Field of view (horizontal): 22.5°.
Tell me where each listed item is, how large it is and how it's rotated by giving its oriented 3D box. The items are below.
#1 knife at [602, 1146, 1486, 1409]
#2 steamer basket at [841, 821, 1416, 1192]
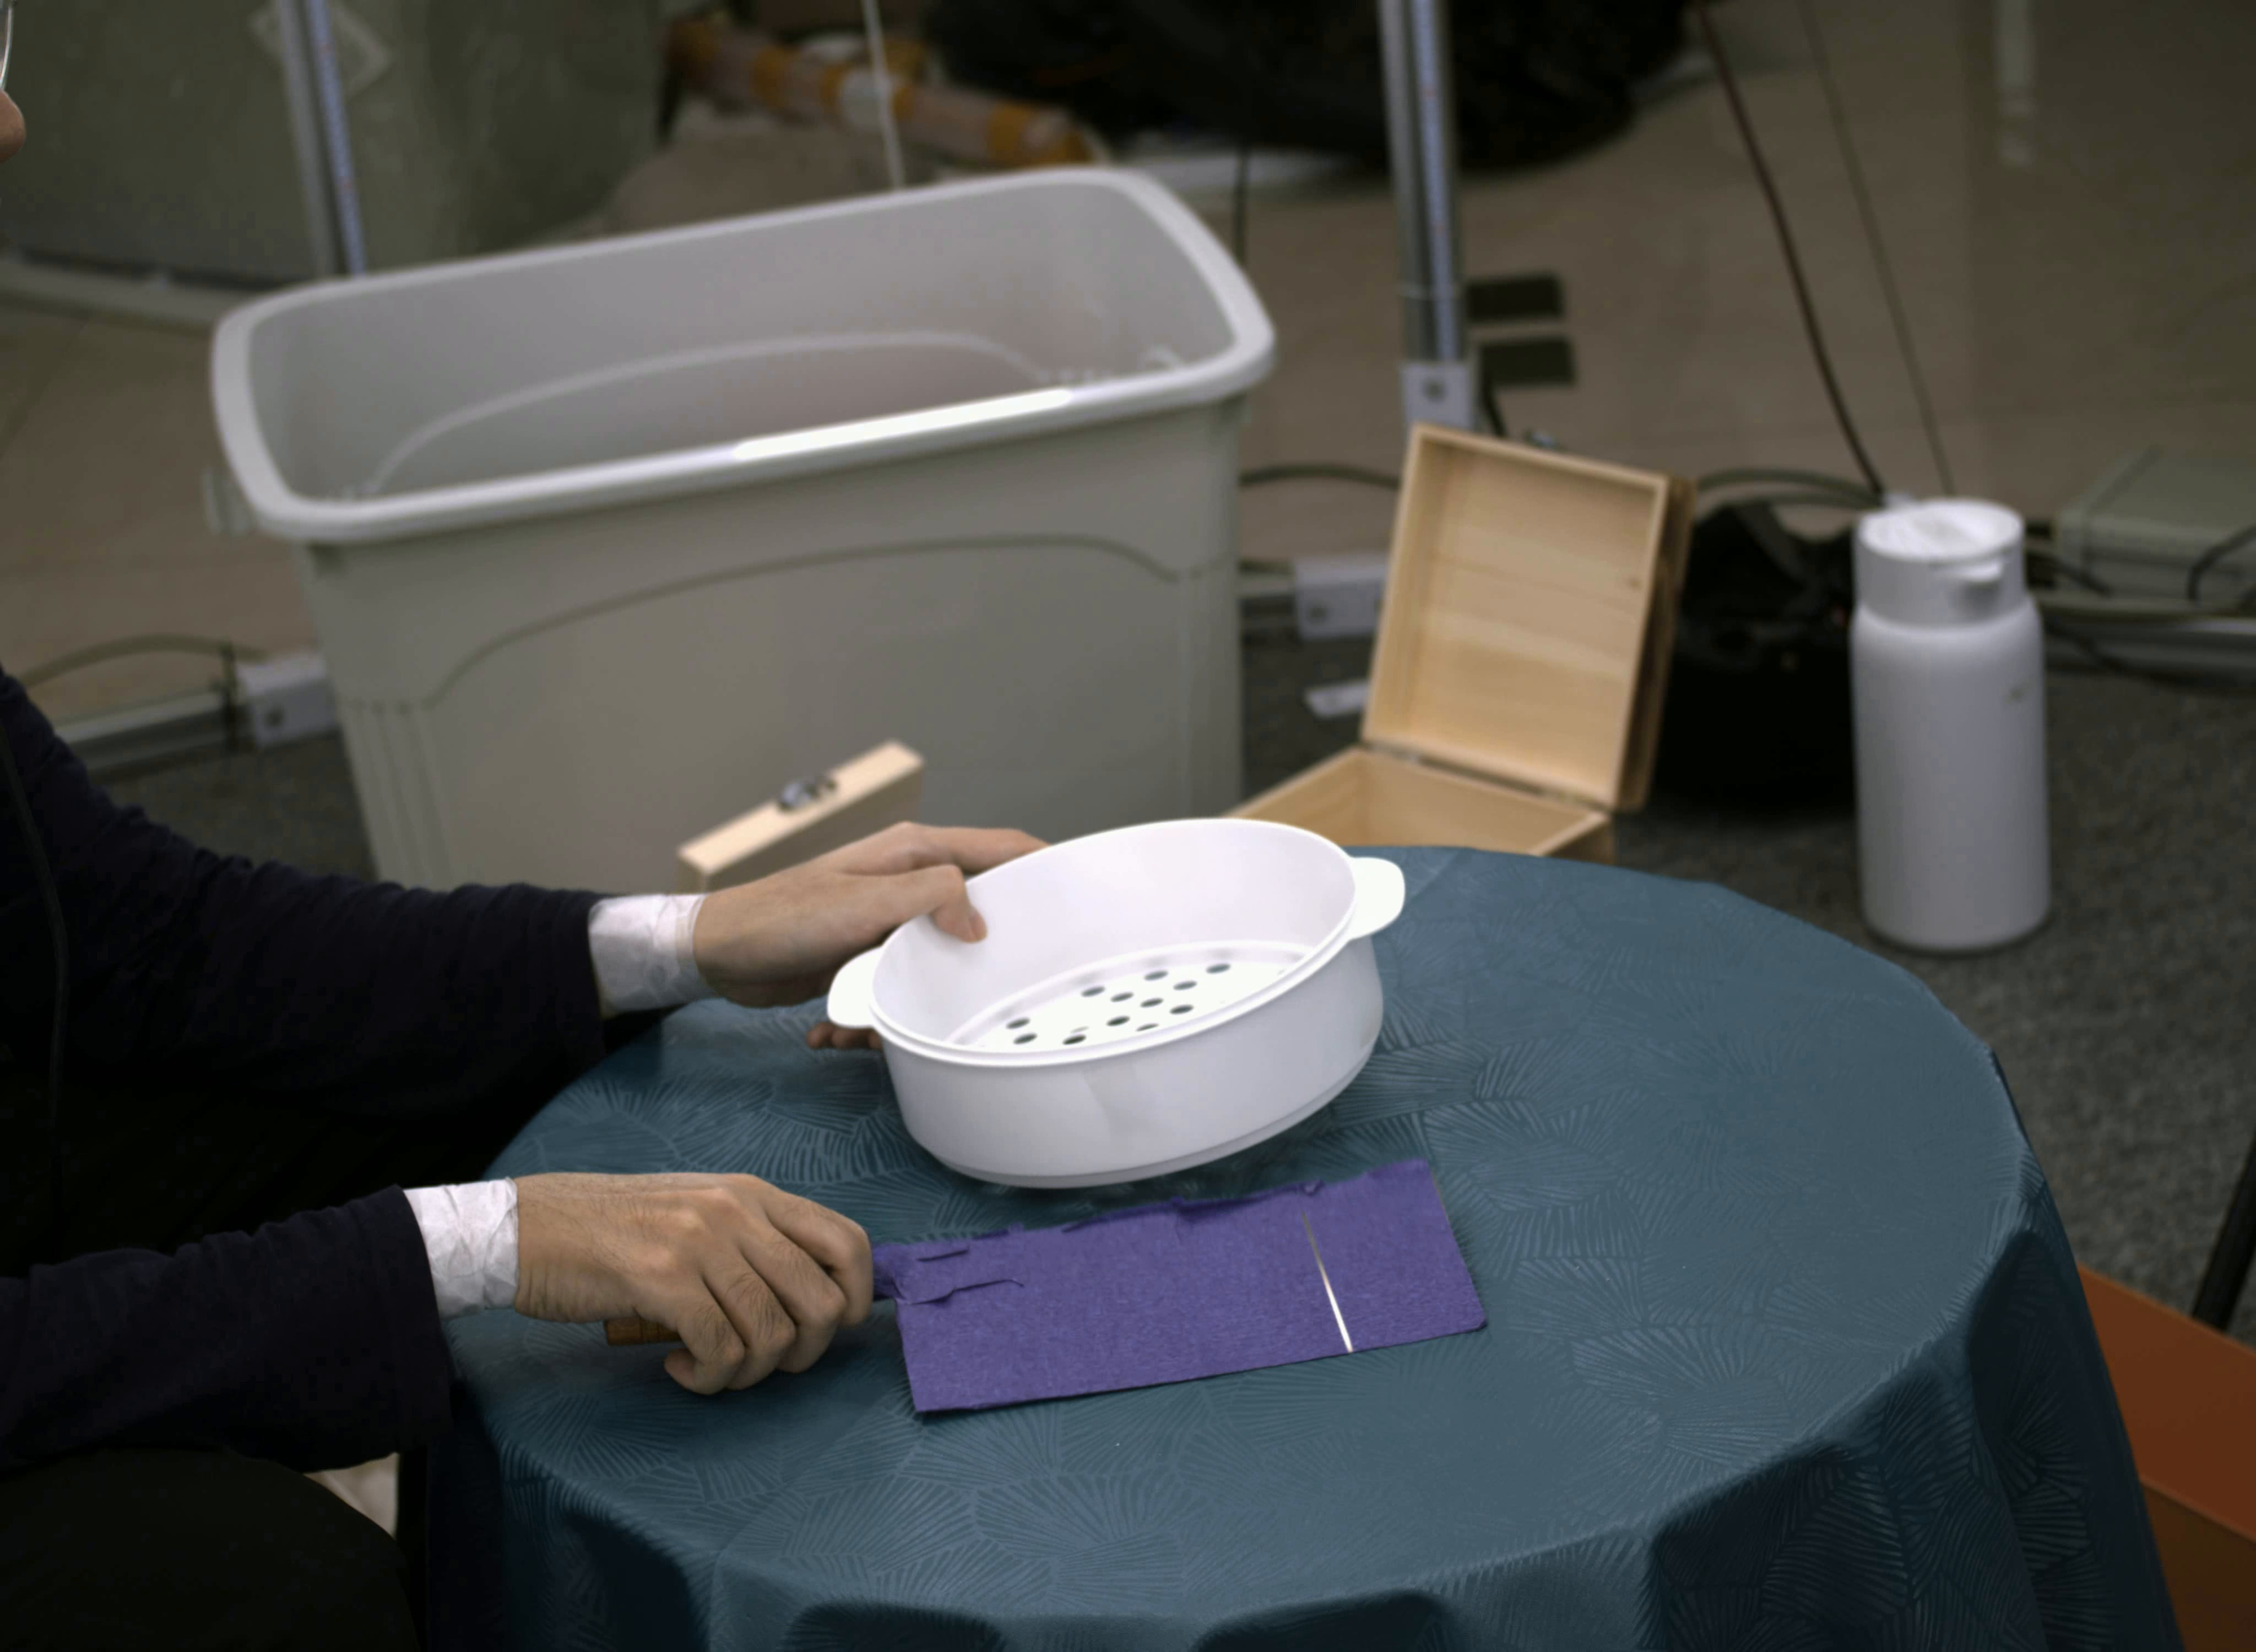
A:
[{"bbox_3d":[-0.031,0.170,2.049,0.314,0.033,0.102,-10,35,-5],"label":"knife"},{"bbox_3d":[0.007,0.071,2.200,0.230,0.070,0.199,-13,22,9],"label":"steamer basket"}]
